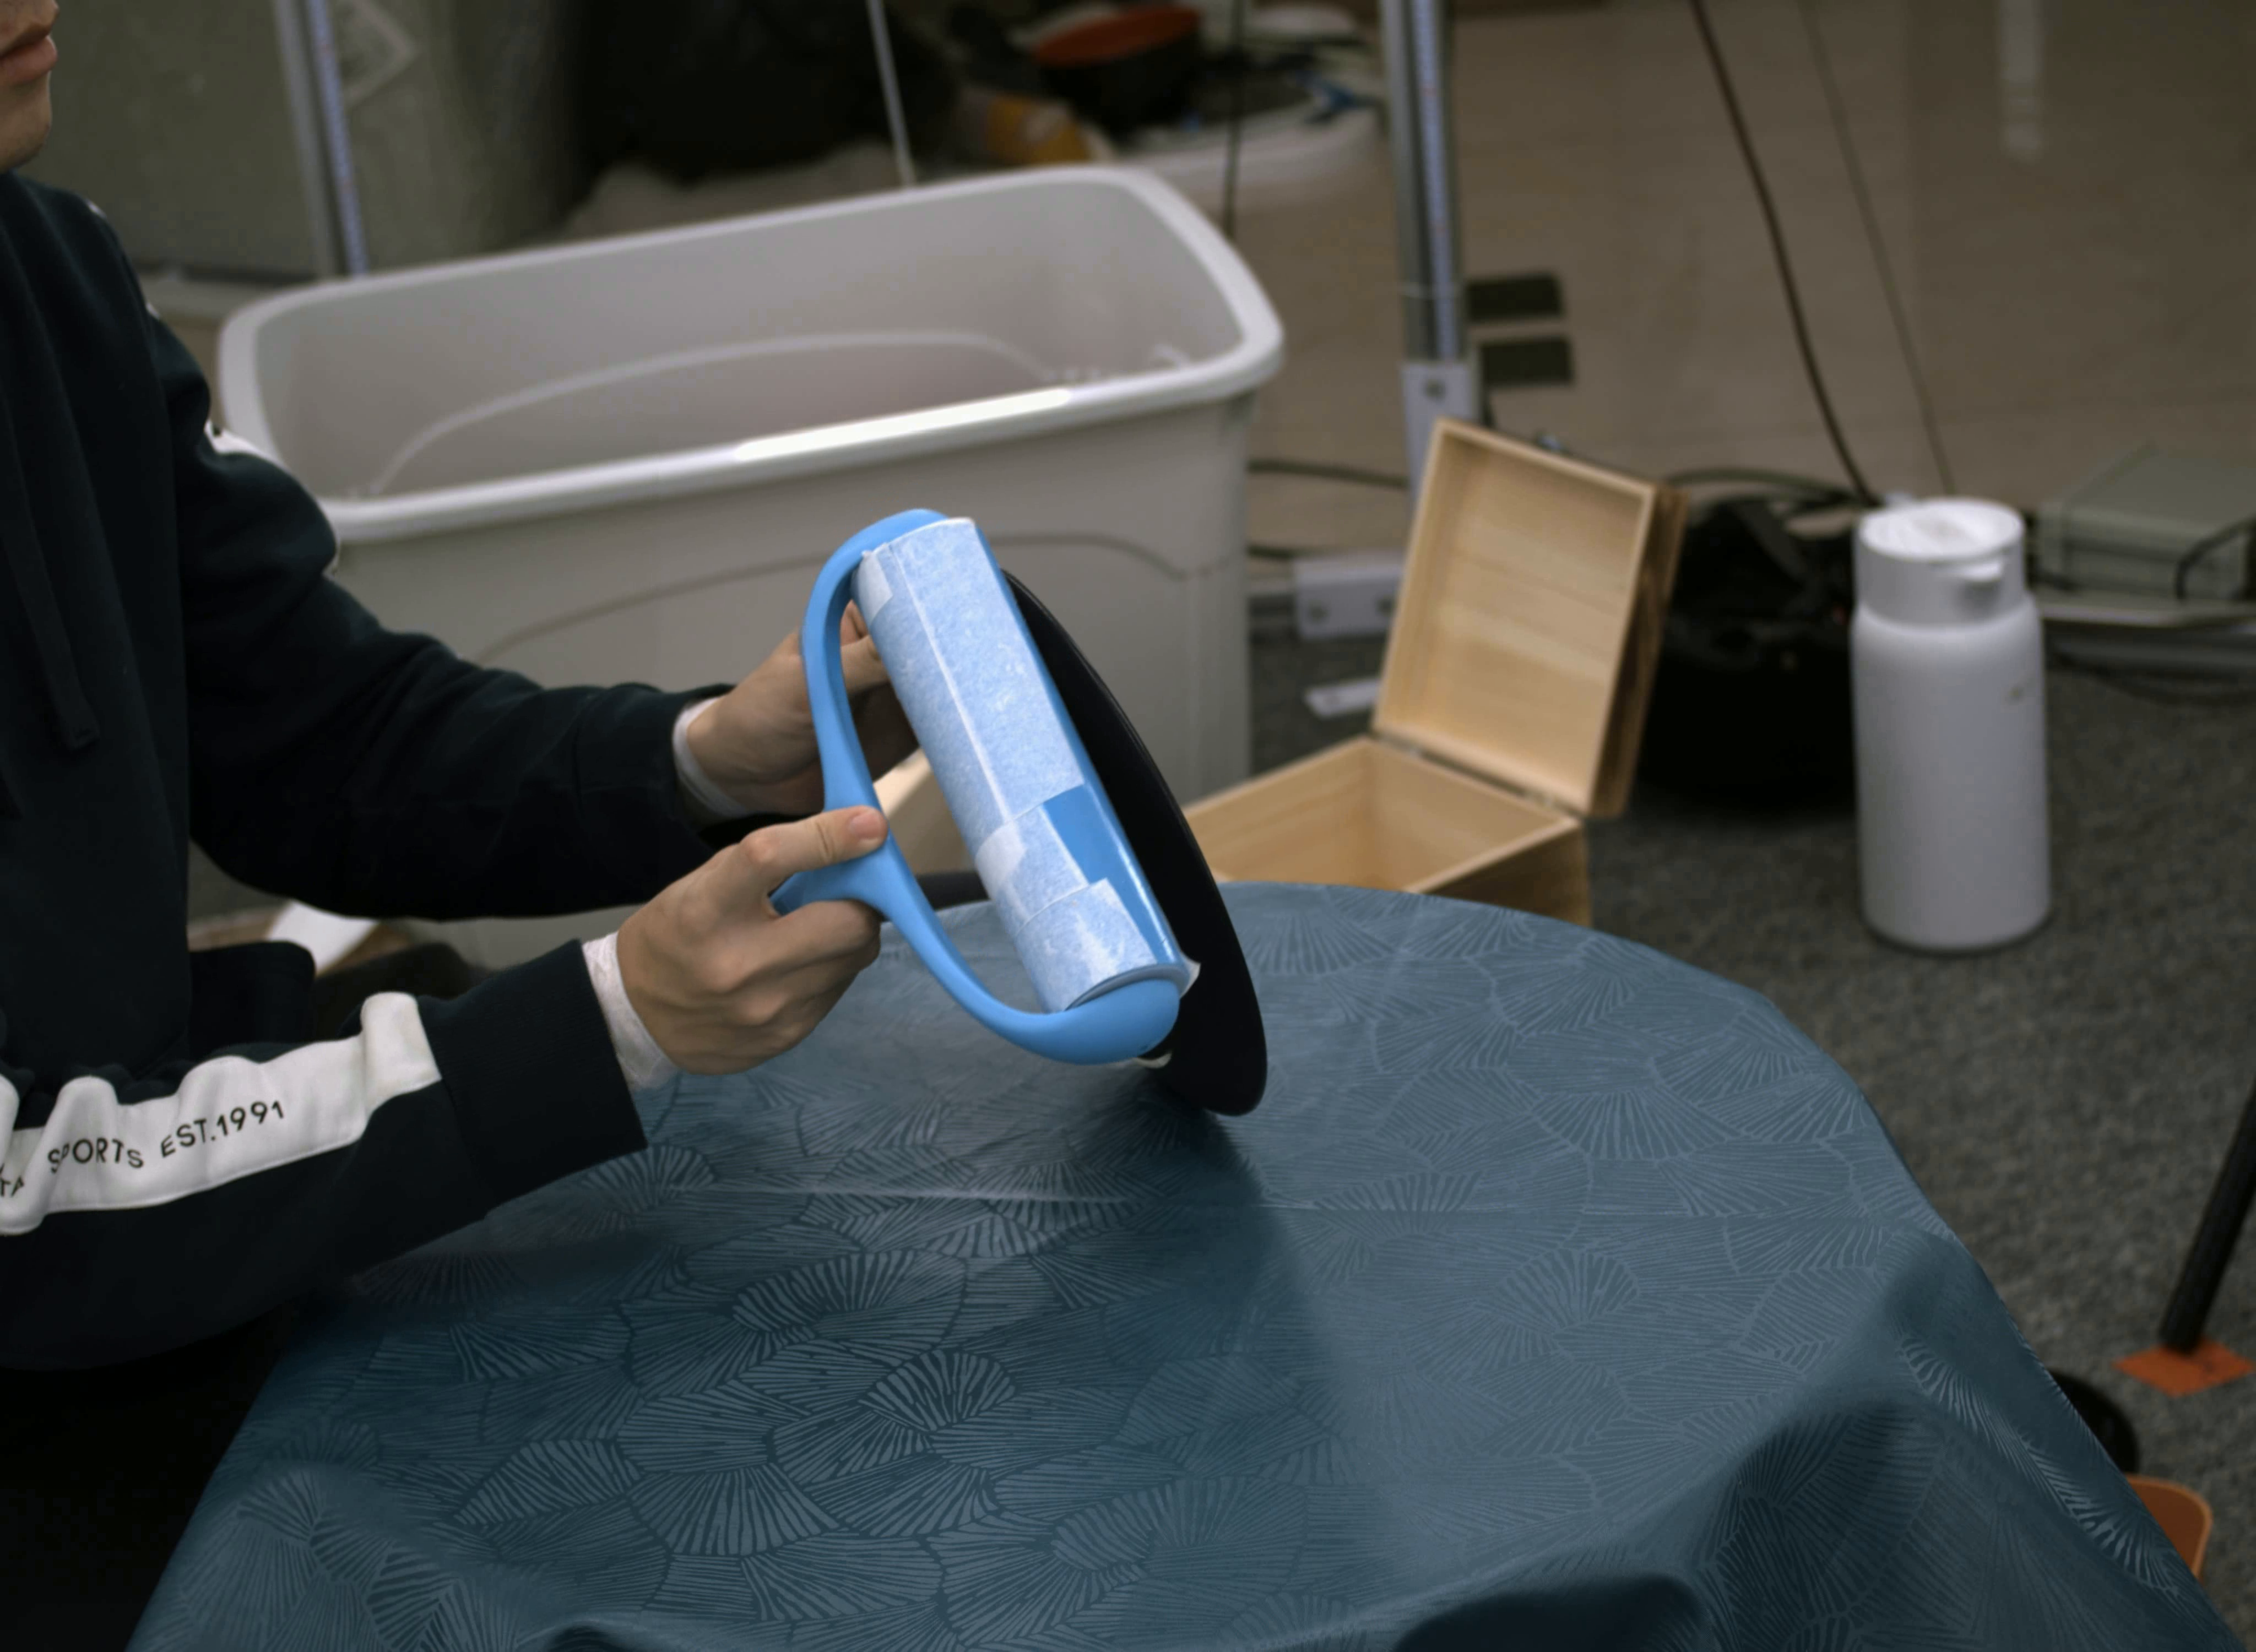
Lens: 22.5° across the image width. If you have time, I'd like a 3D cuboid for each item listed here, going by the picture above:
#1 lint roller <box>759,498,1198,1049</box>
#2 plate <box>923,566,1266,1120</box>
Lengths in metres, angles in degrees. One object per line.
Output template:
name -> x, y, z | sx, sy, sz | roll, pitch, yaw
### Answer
lint roller -> -0.081, 0.013, 2.059 | 0.068, 0.182, 0.226 | 9, 48, -57
plate -> -0.022, 0.009, 2.151 | 0.023, 0.248, 0.241 | -29, 31, -16
